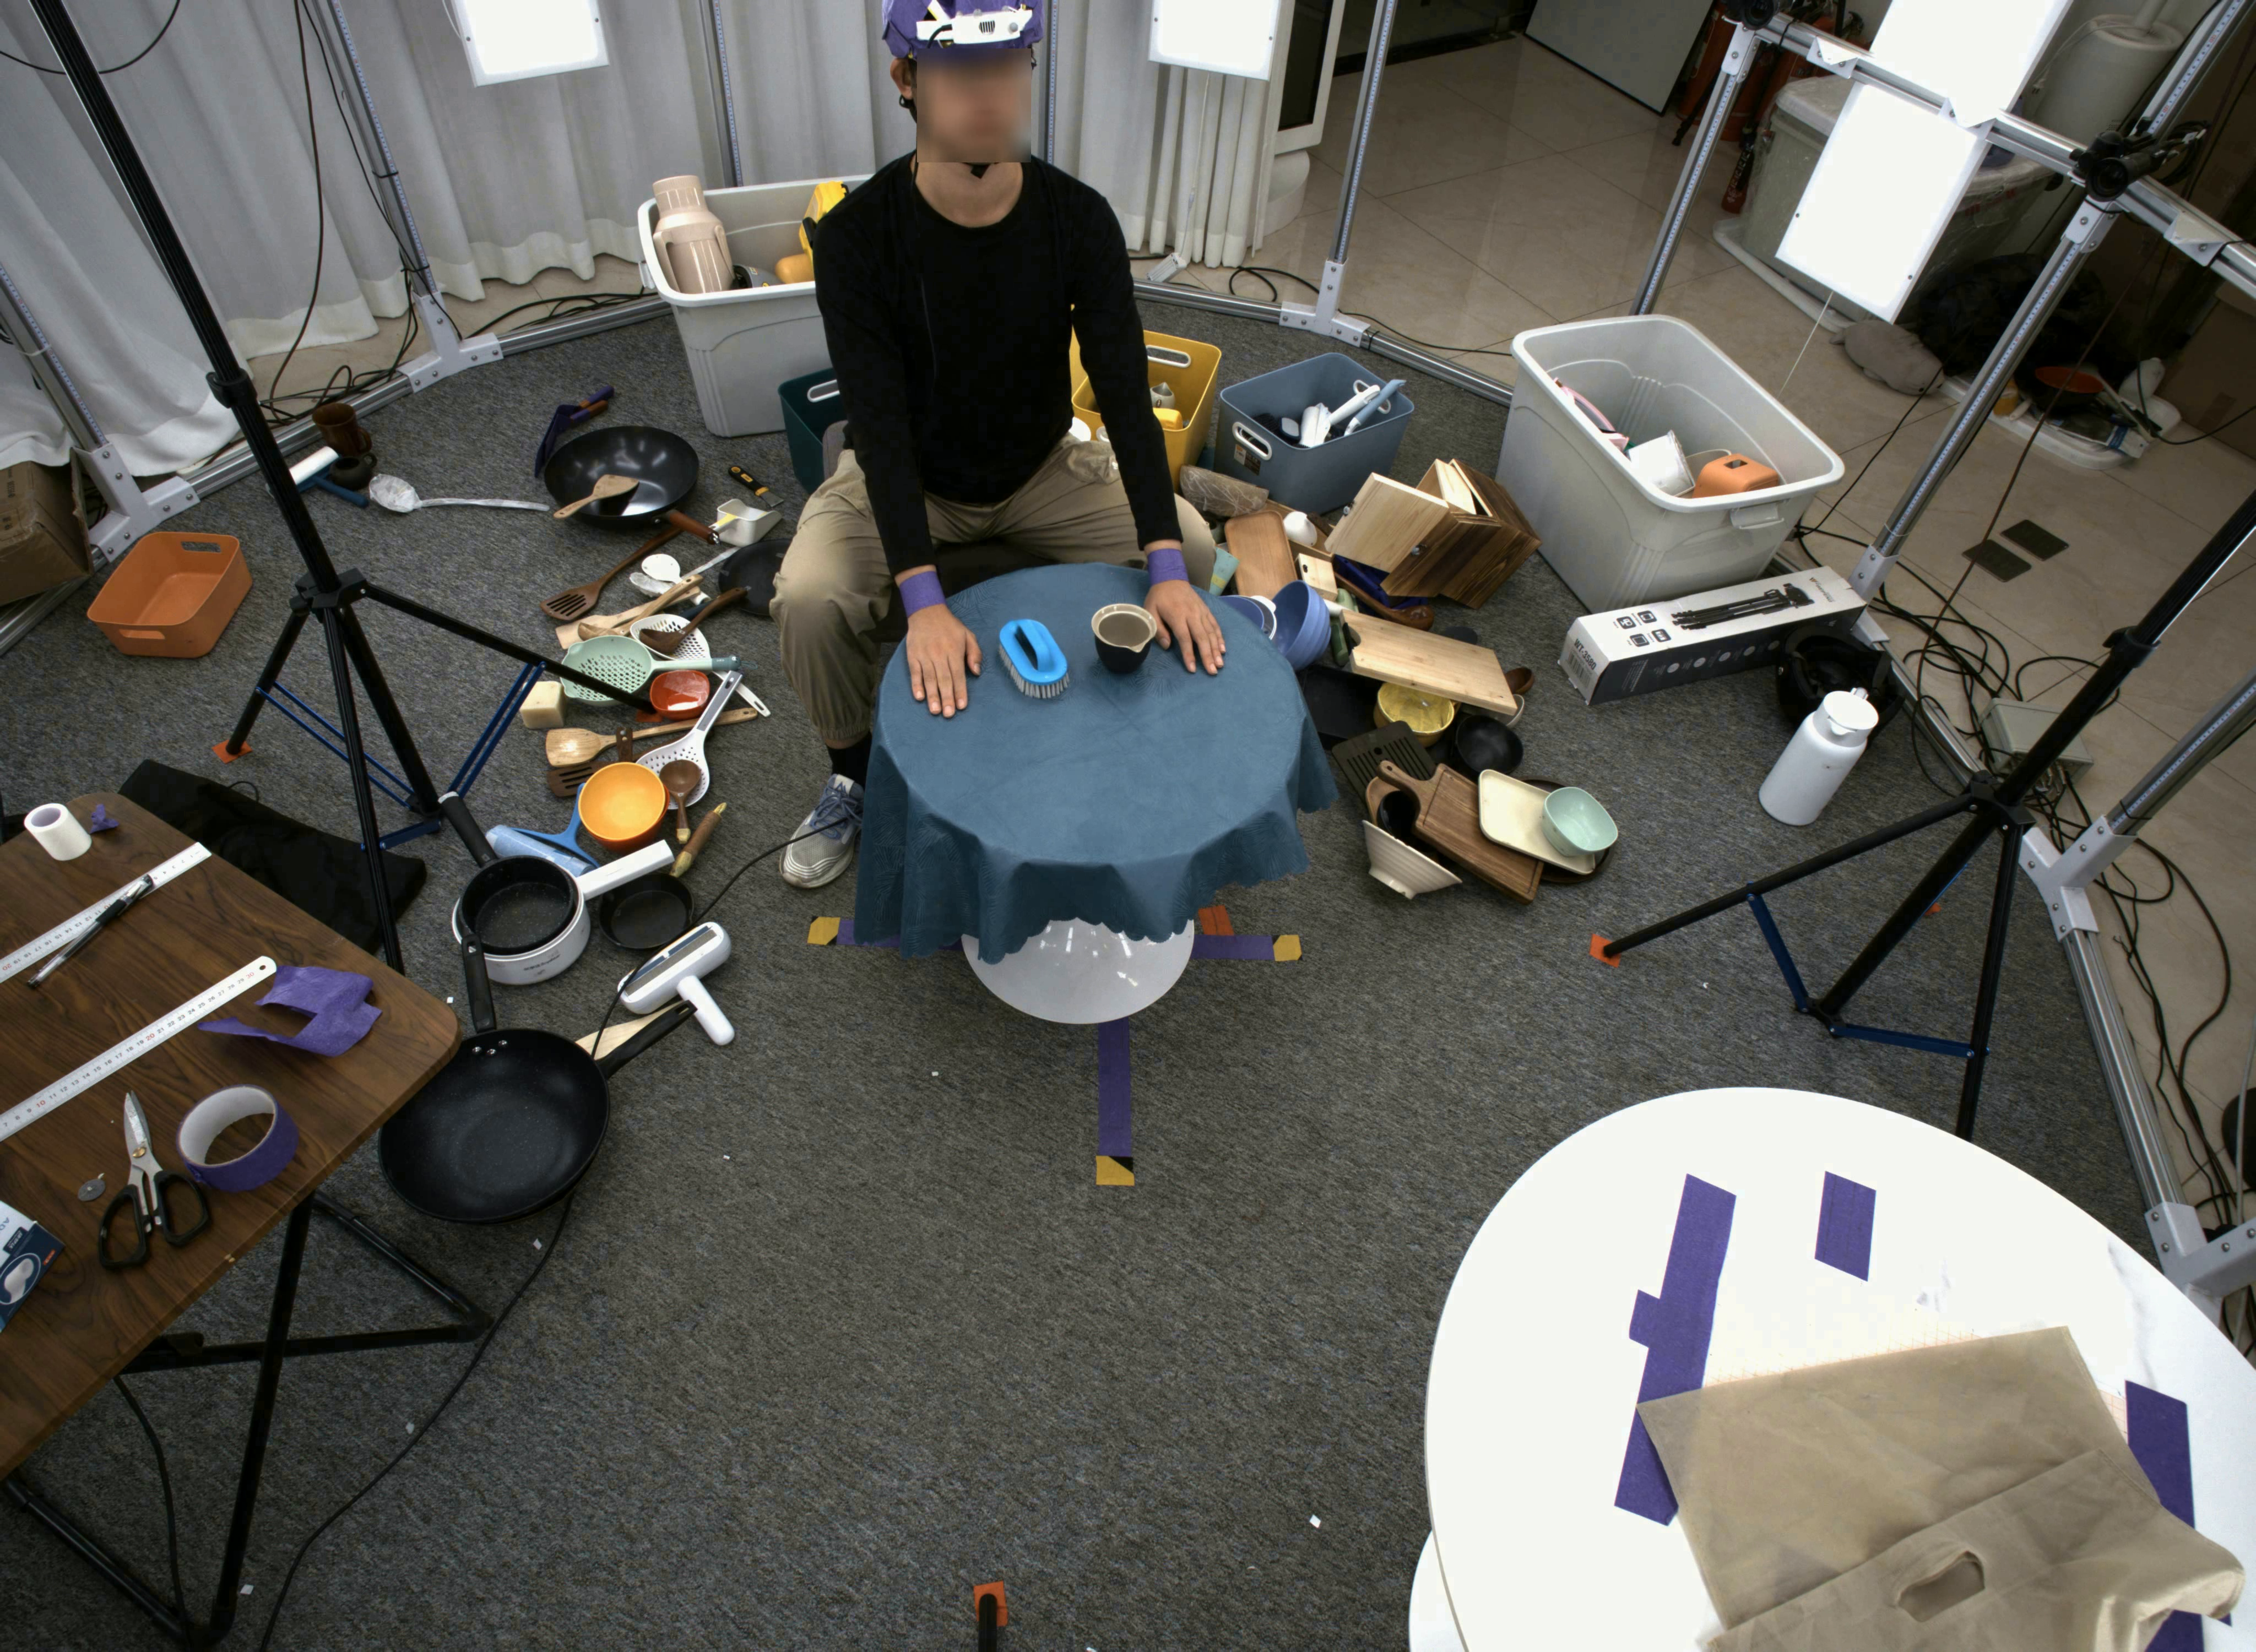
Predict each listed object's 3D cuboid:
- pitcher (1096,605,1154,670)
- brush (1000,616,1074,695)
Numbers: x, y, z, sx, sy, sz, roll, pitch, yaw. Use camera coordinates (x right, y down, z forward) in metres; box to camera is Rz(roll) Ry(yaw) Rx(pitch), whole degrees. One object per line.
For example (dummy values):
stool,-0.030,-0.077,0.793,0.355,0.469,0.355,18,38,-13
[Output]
pitcher,-0.004,-0.264,1.847,0.083,0.069,0.098,-9,52,-13
brush,-0.133,-0.255,1.836,0.084,0.062,0.145,-19,52,-14
